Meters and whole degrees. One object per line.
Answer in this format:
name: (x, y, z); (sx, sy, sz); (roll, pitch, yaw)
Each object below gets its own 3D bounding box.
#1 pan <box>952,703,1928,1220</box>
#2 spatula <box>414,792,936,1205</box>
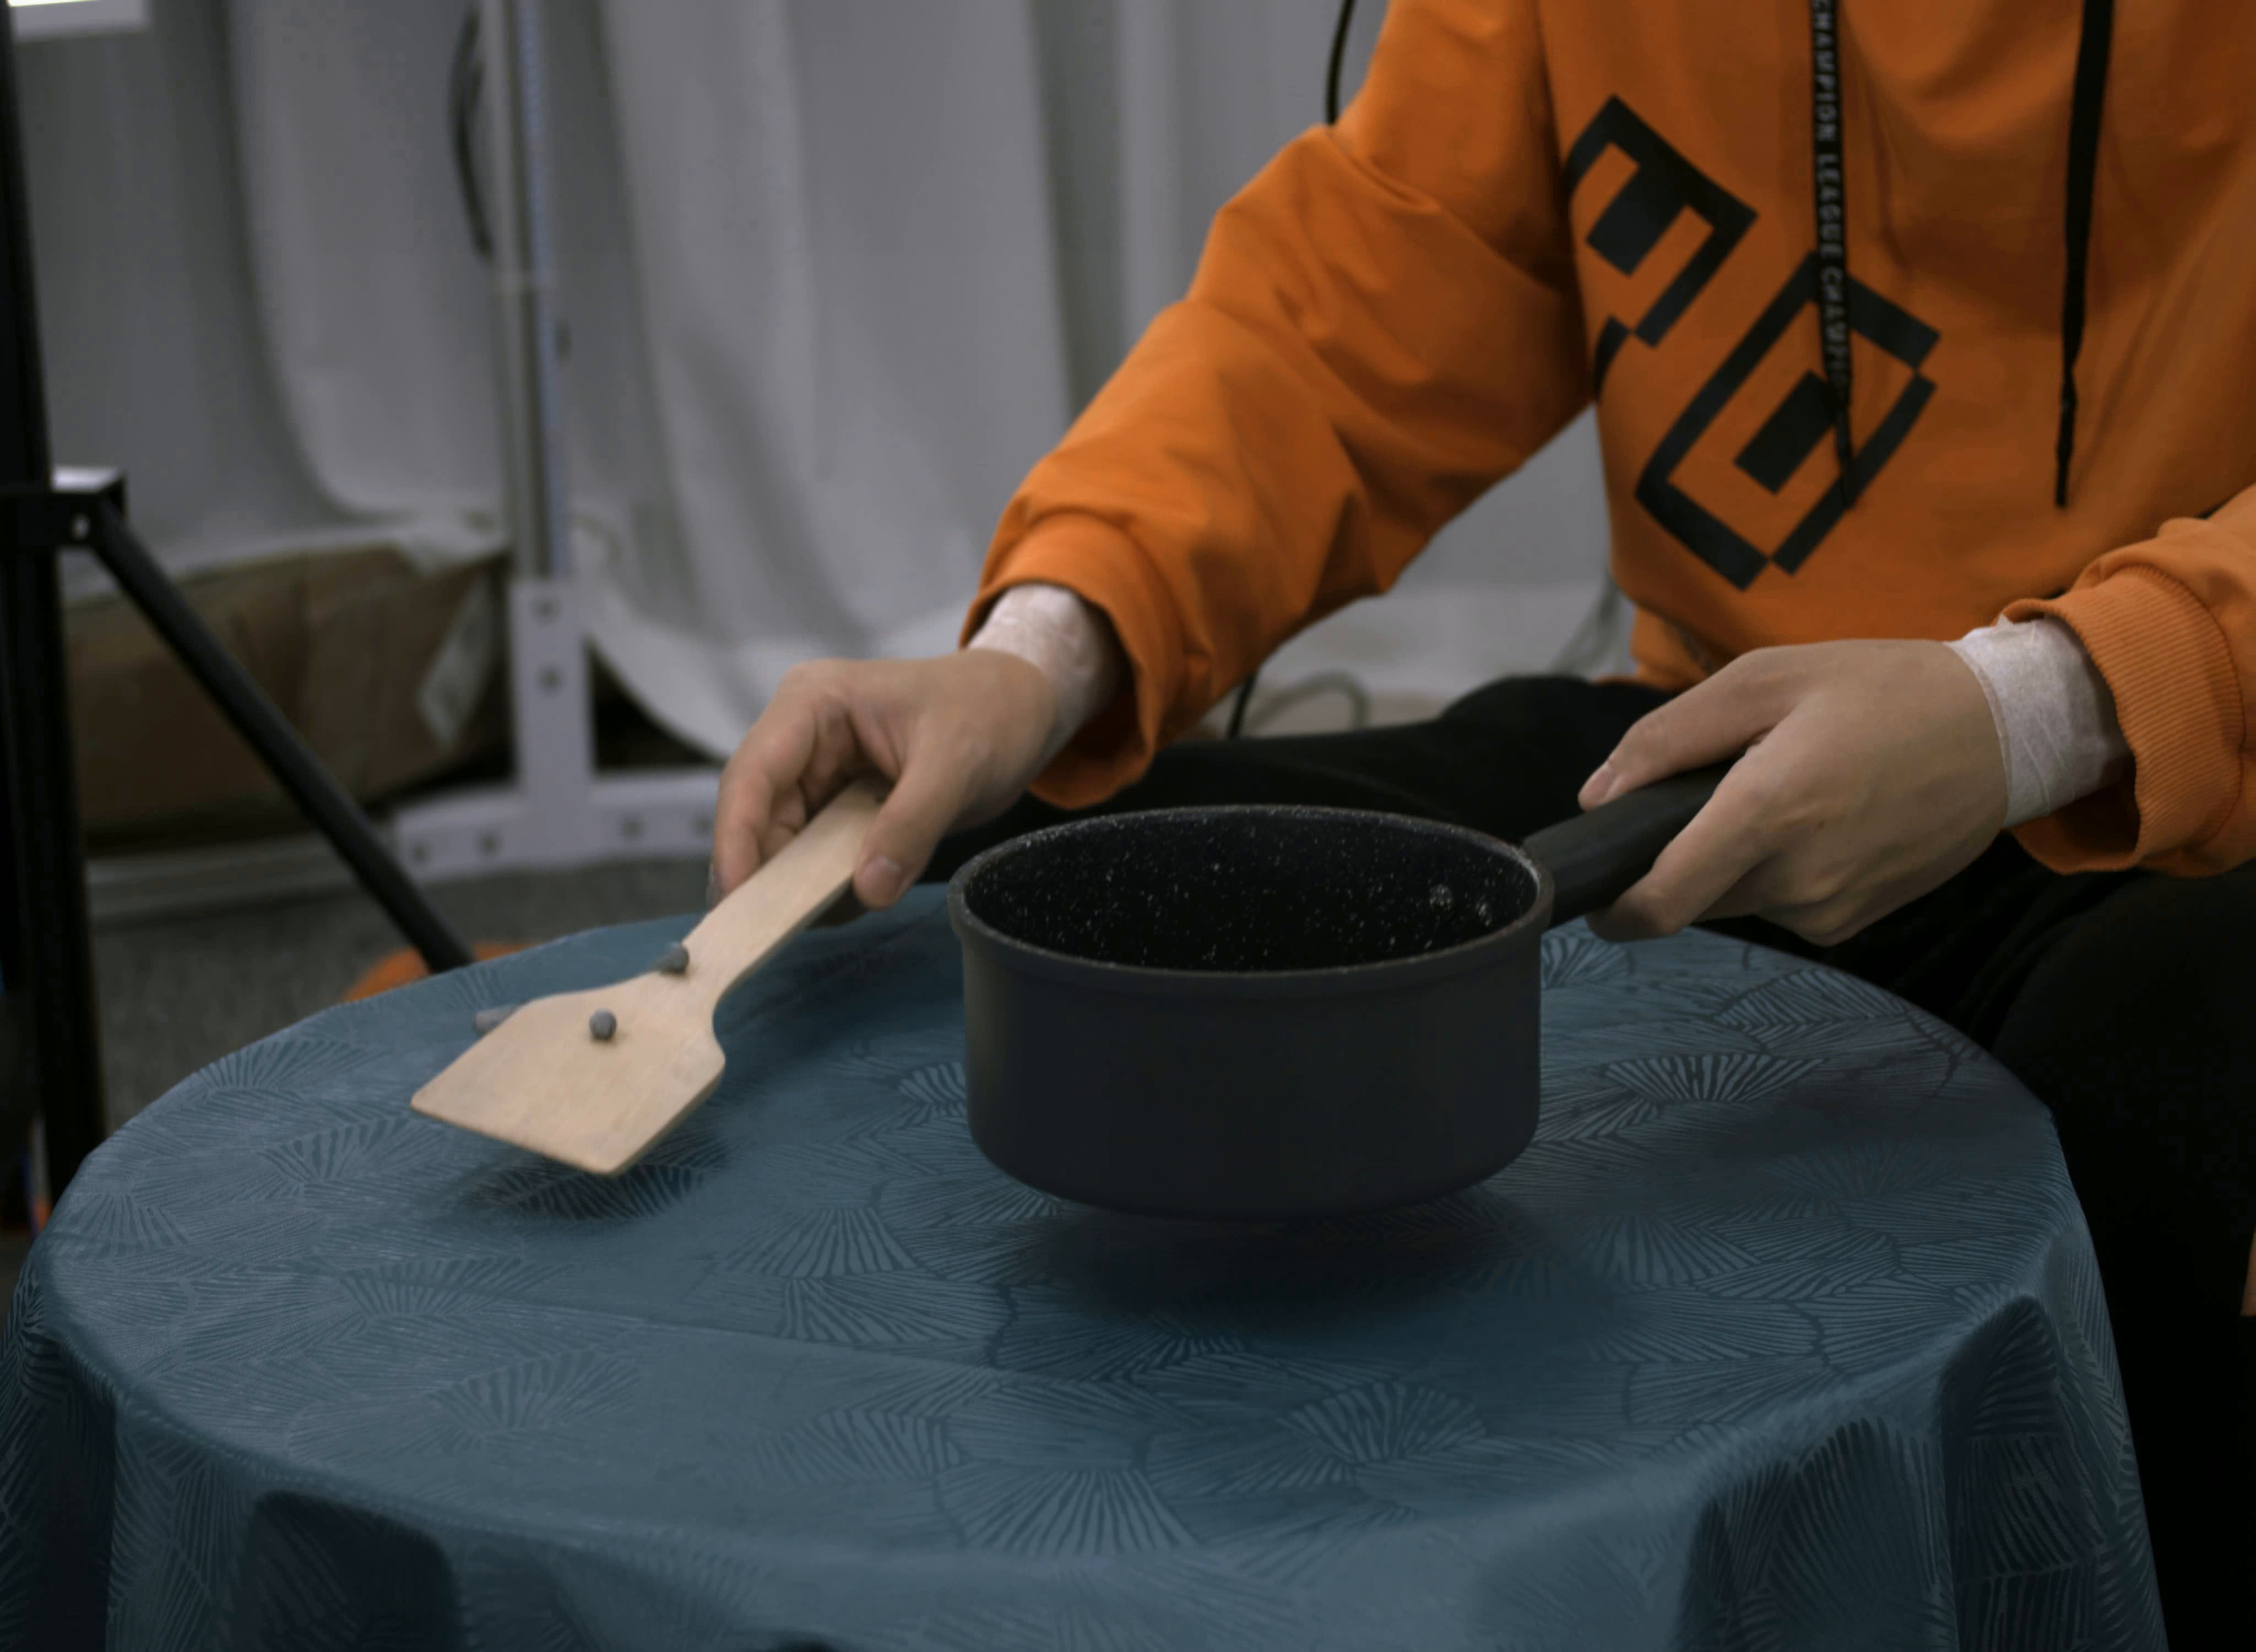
pan: (0.100, 0.035, 1.538); (0.321, 0.086, 0.176); (-13, 20, -31)
spatula: (-0.129, 0.048, 1.681); (0.073, 0.010, 0.290); (14, 28, 18)
